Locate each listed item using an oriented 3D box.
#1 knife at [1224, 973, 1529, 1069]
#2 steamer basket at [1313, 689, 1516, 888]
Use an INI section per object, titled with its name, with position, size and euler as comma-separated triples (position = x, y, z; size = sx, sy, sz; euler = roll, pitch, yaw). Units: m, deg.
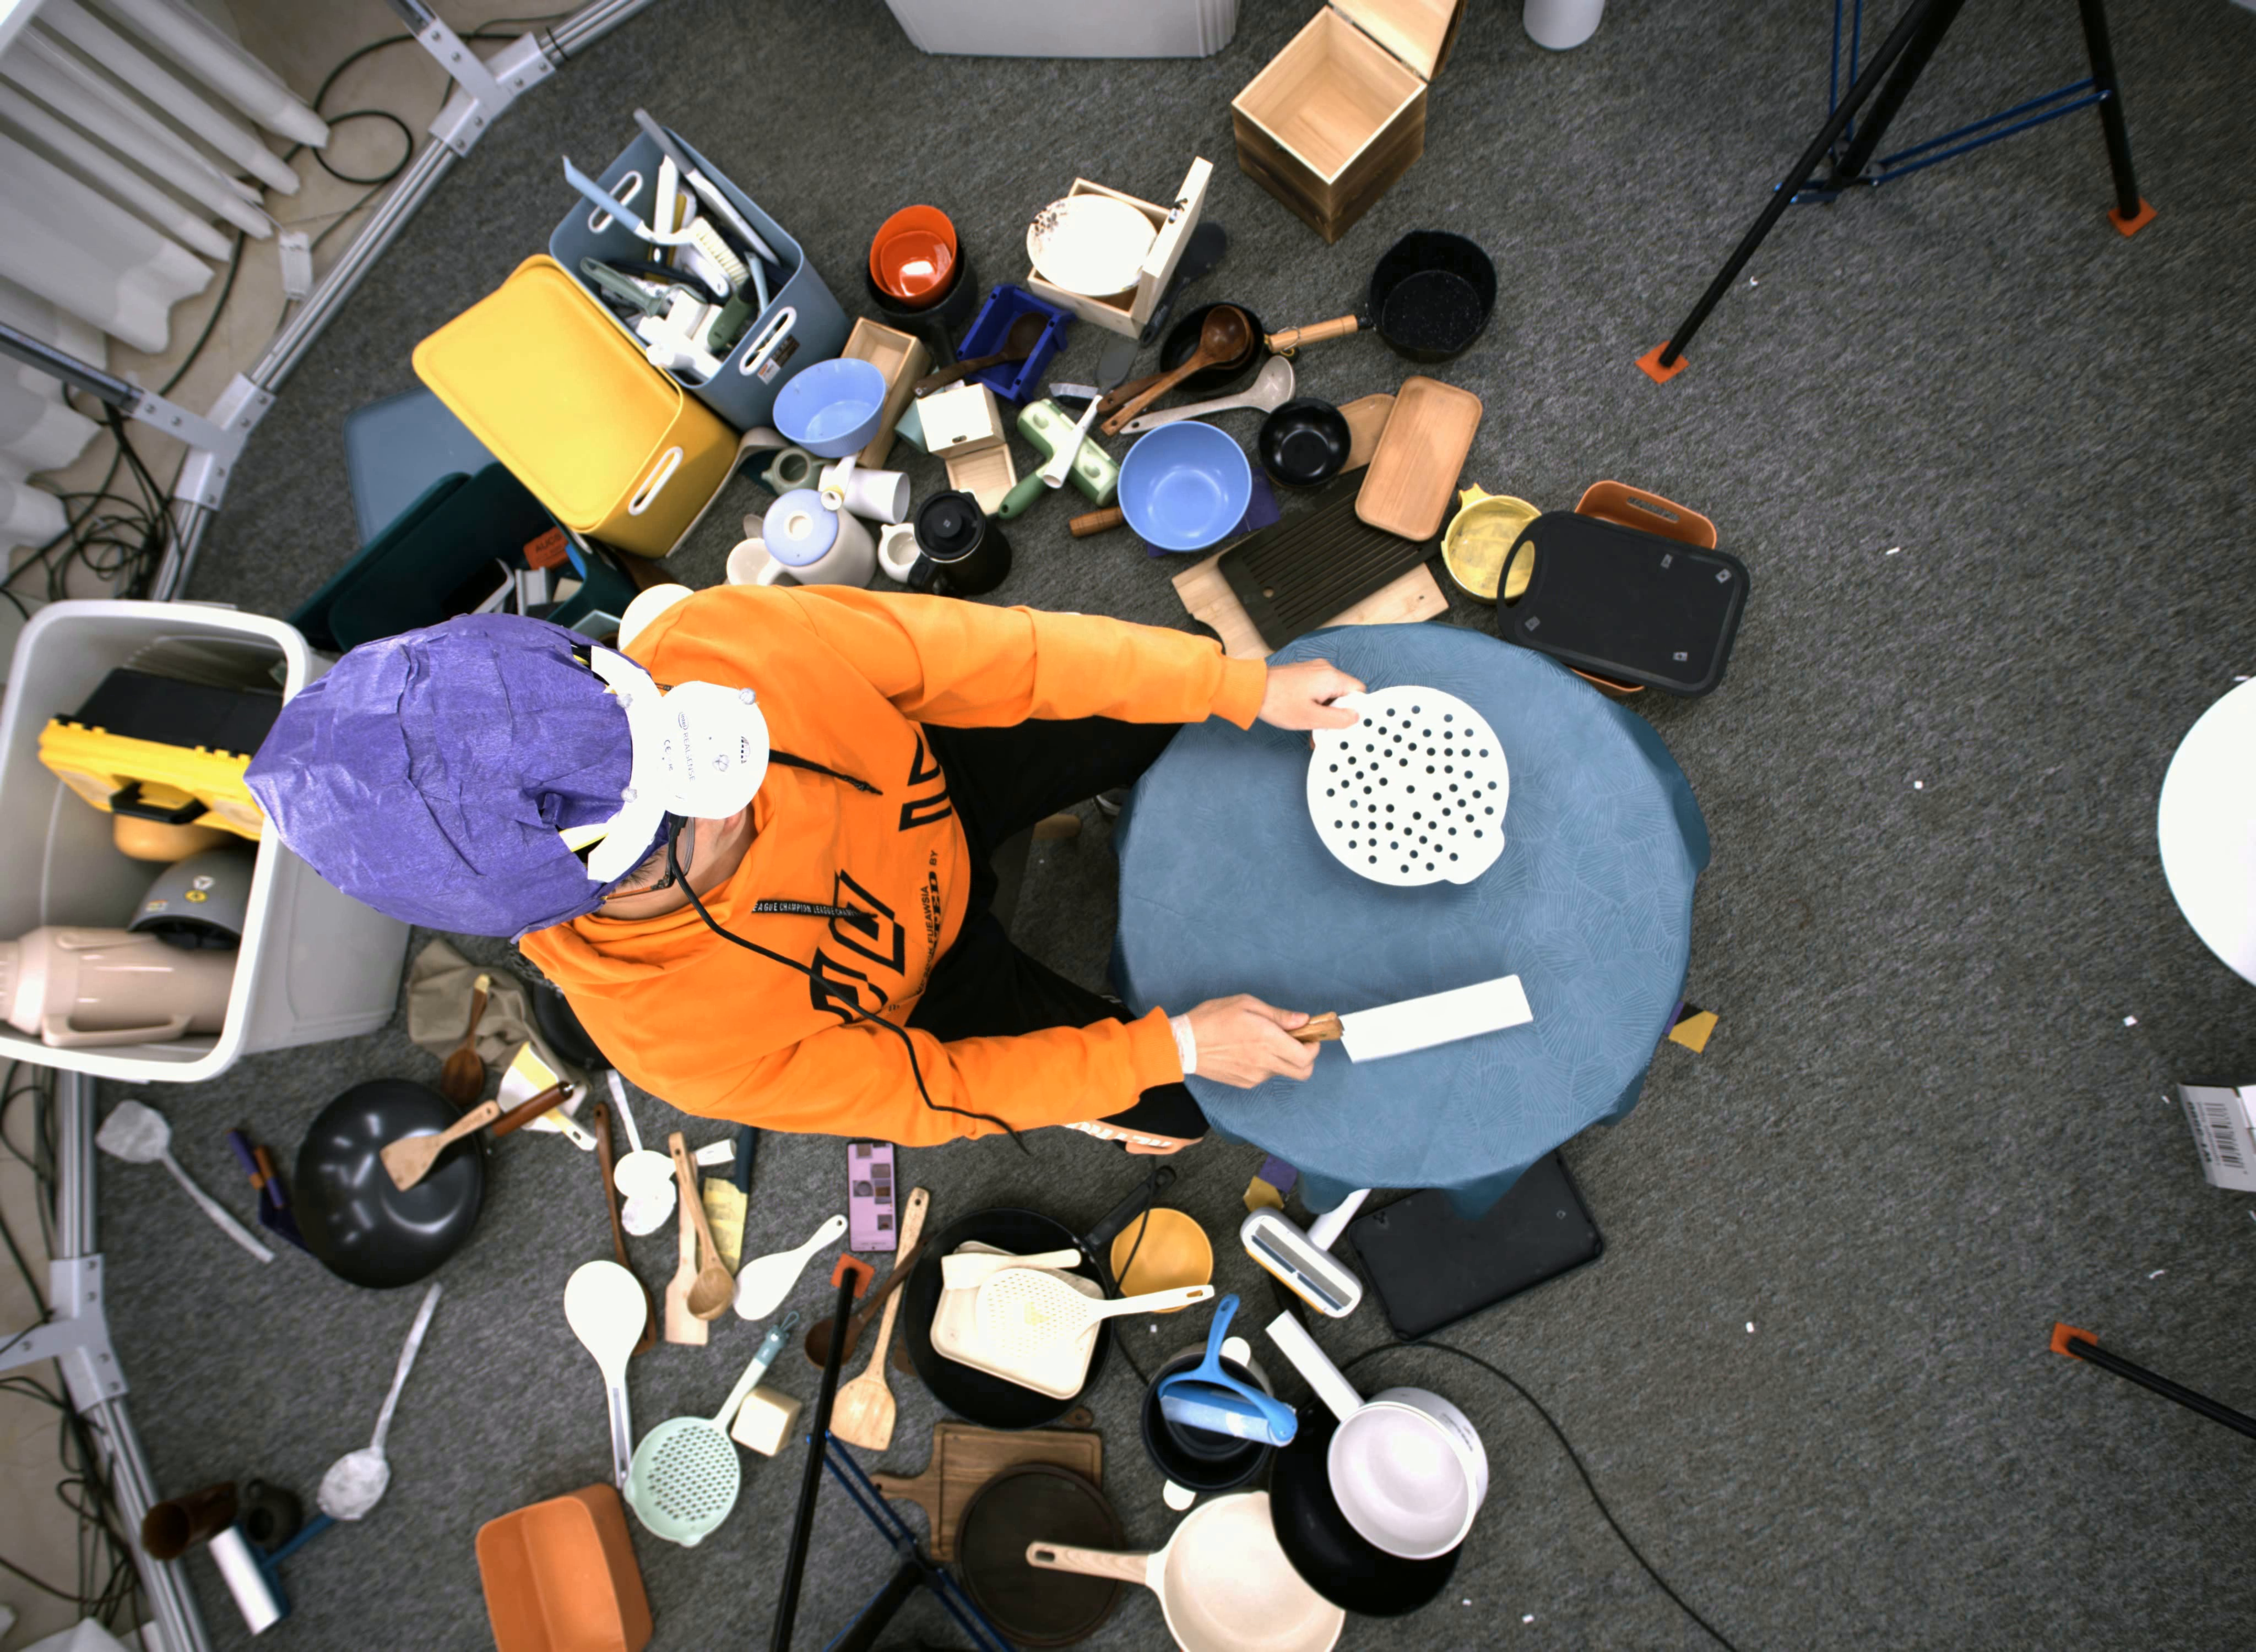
[knife]
position = 0.254, 0.211, 1.411
size = 0.308, 0.094, 0.020
euler = -17, 43, 16
[steamer basket]
position = 0.294, -0.039, 1.414
size = 0.229, 0.069, 0.204
euler = 45, 101, 9
